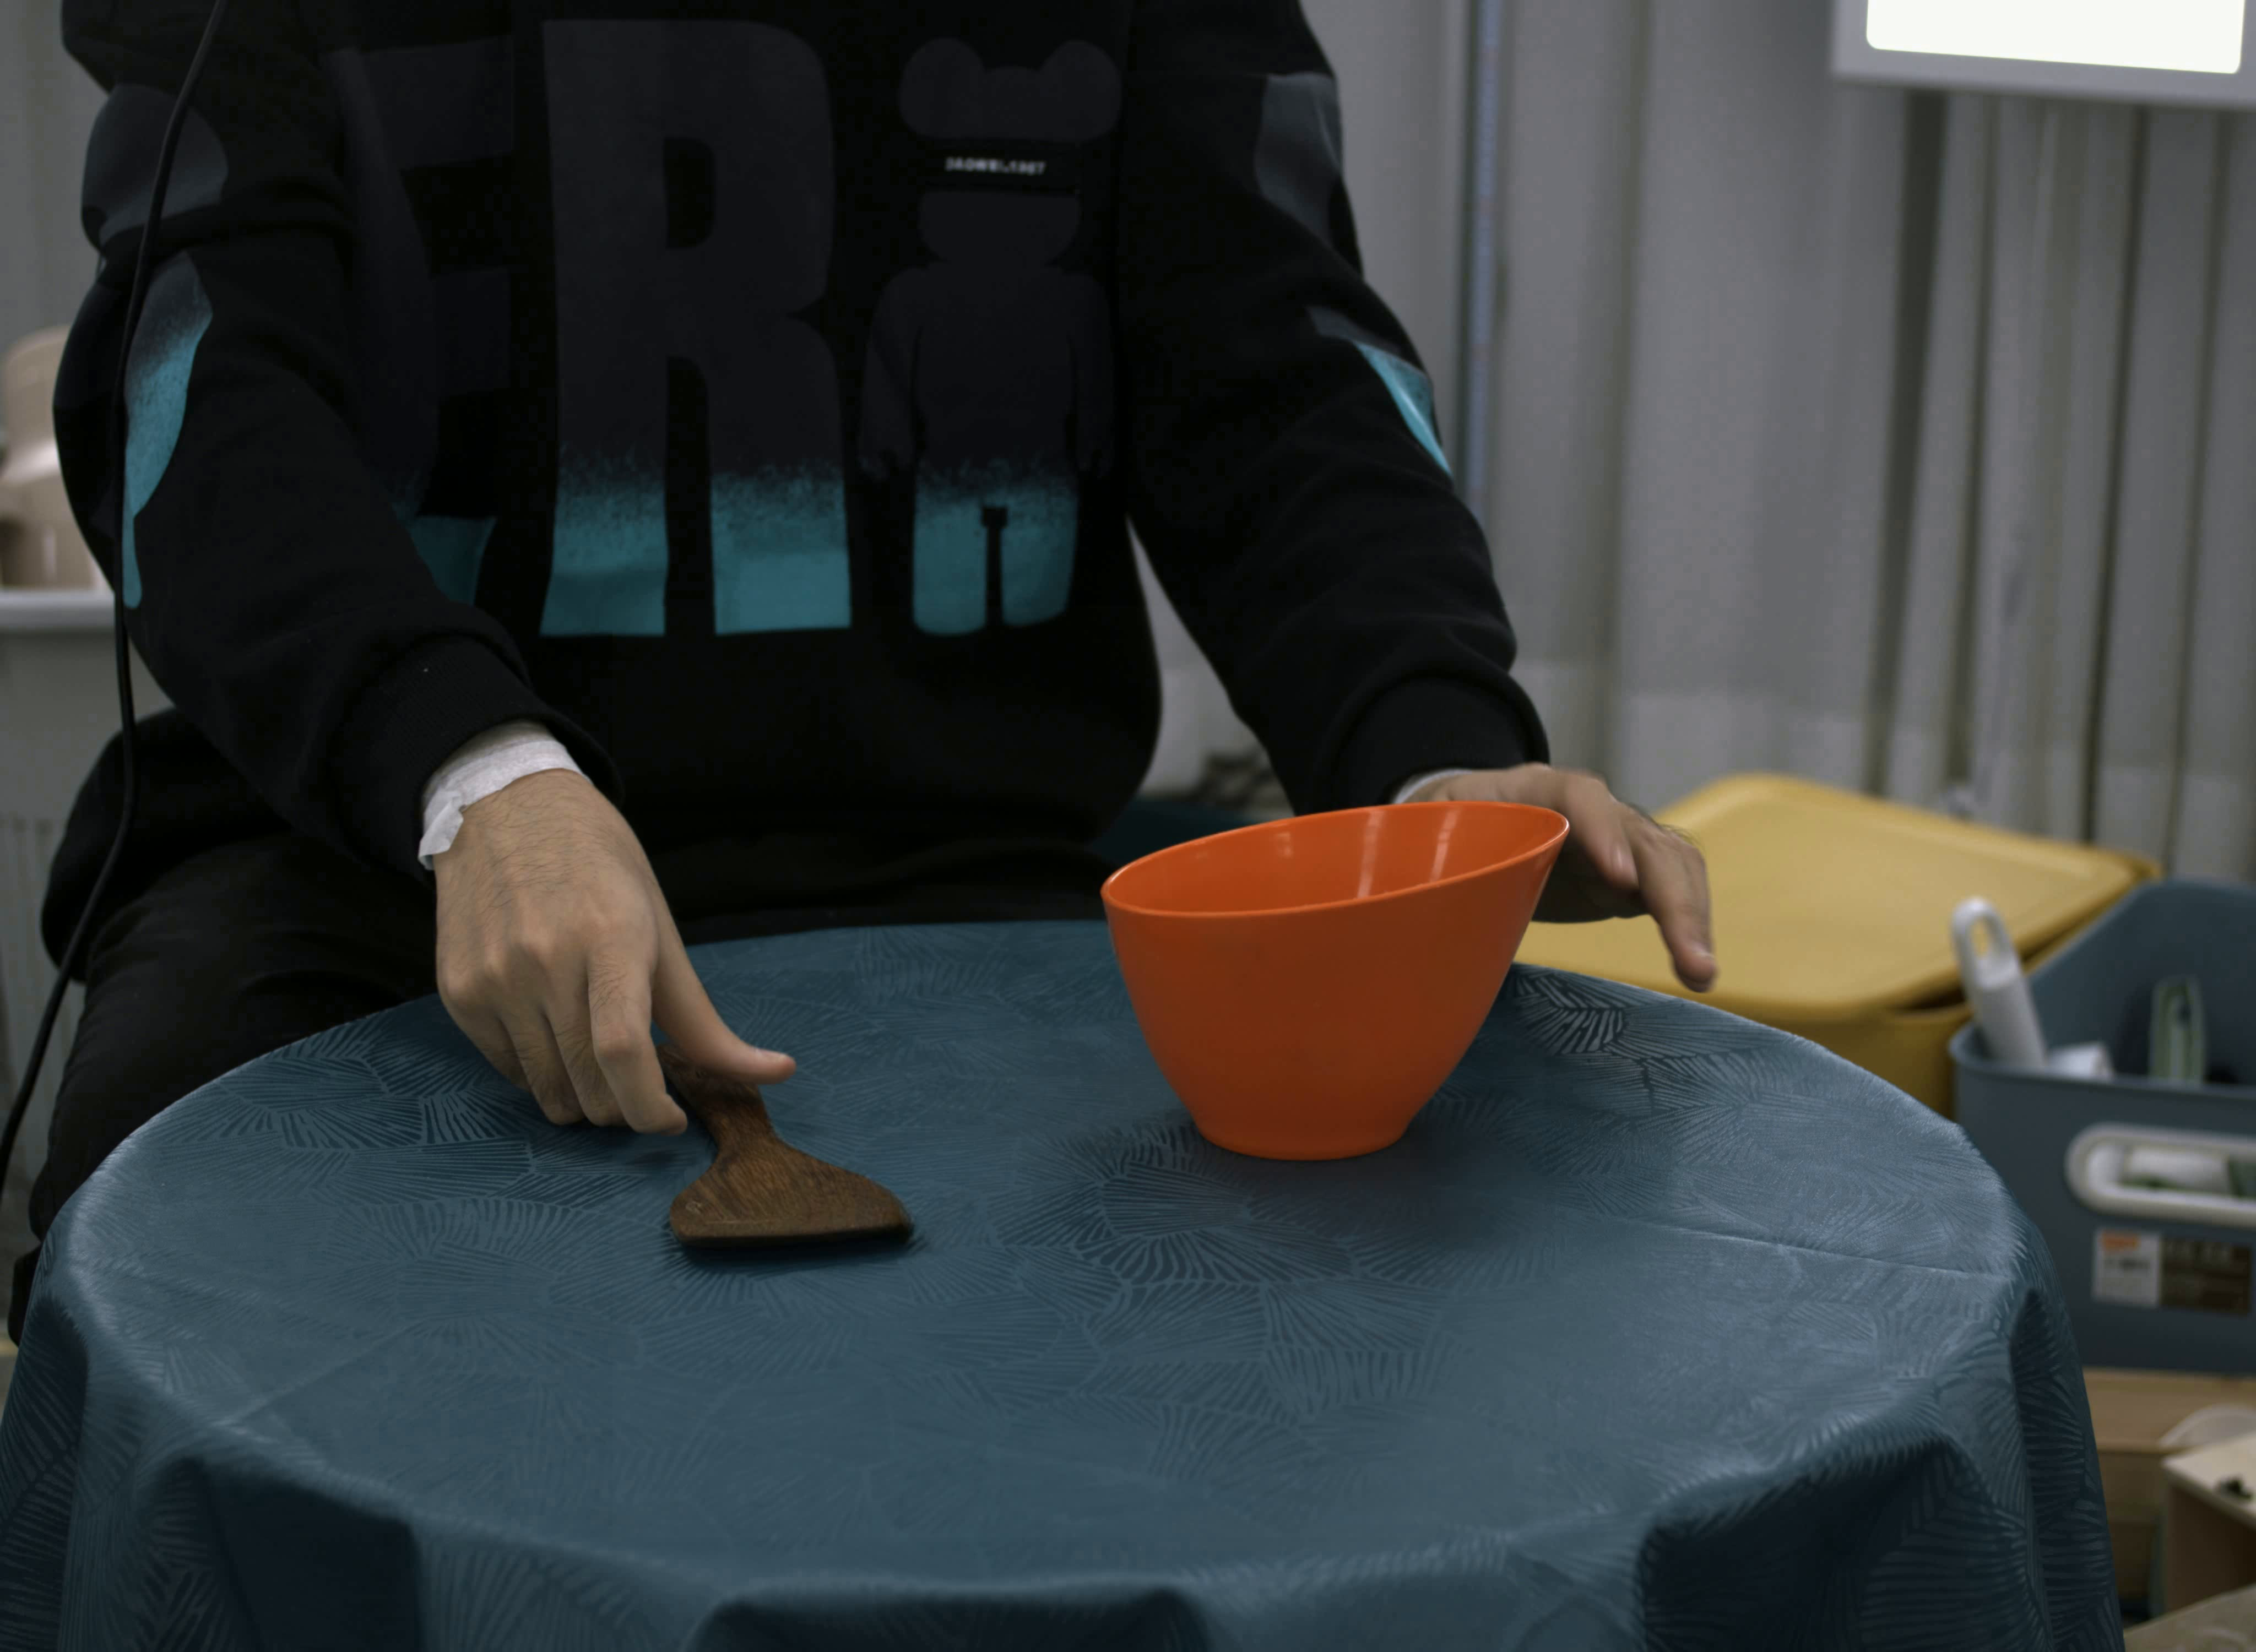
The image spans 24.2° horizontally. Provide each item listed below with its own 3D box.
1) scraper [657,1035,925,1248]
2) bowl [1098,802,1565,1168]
[{"bbox_3d":[-0.119,0.099,1.657,0.076,0.011,0.209,-2,15,-14],"label":"scraper"},{"bbox_3d":[0.064,0.050,1.666,0.147,0.105,0.147,-1,17,1],"label":"bowl"}]
